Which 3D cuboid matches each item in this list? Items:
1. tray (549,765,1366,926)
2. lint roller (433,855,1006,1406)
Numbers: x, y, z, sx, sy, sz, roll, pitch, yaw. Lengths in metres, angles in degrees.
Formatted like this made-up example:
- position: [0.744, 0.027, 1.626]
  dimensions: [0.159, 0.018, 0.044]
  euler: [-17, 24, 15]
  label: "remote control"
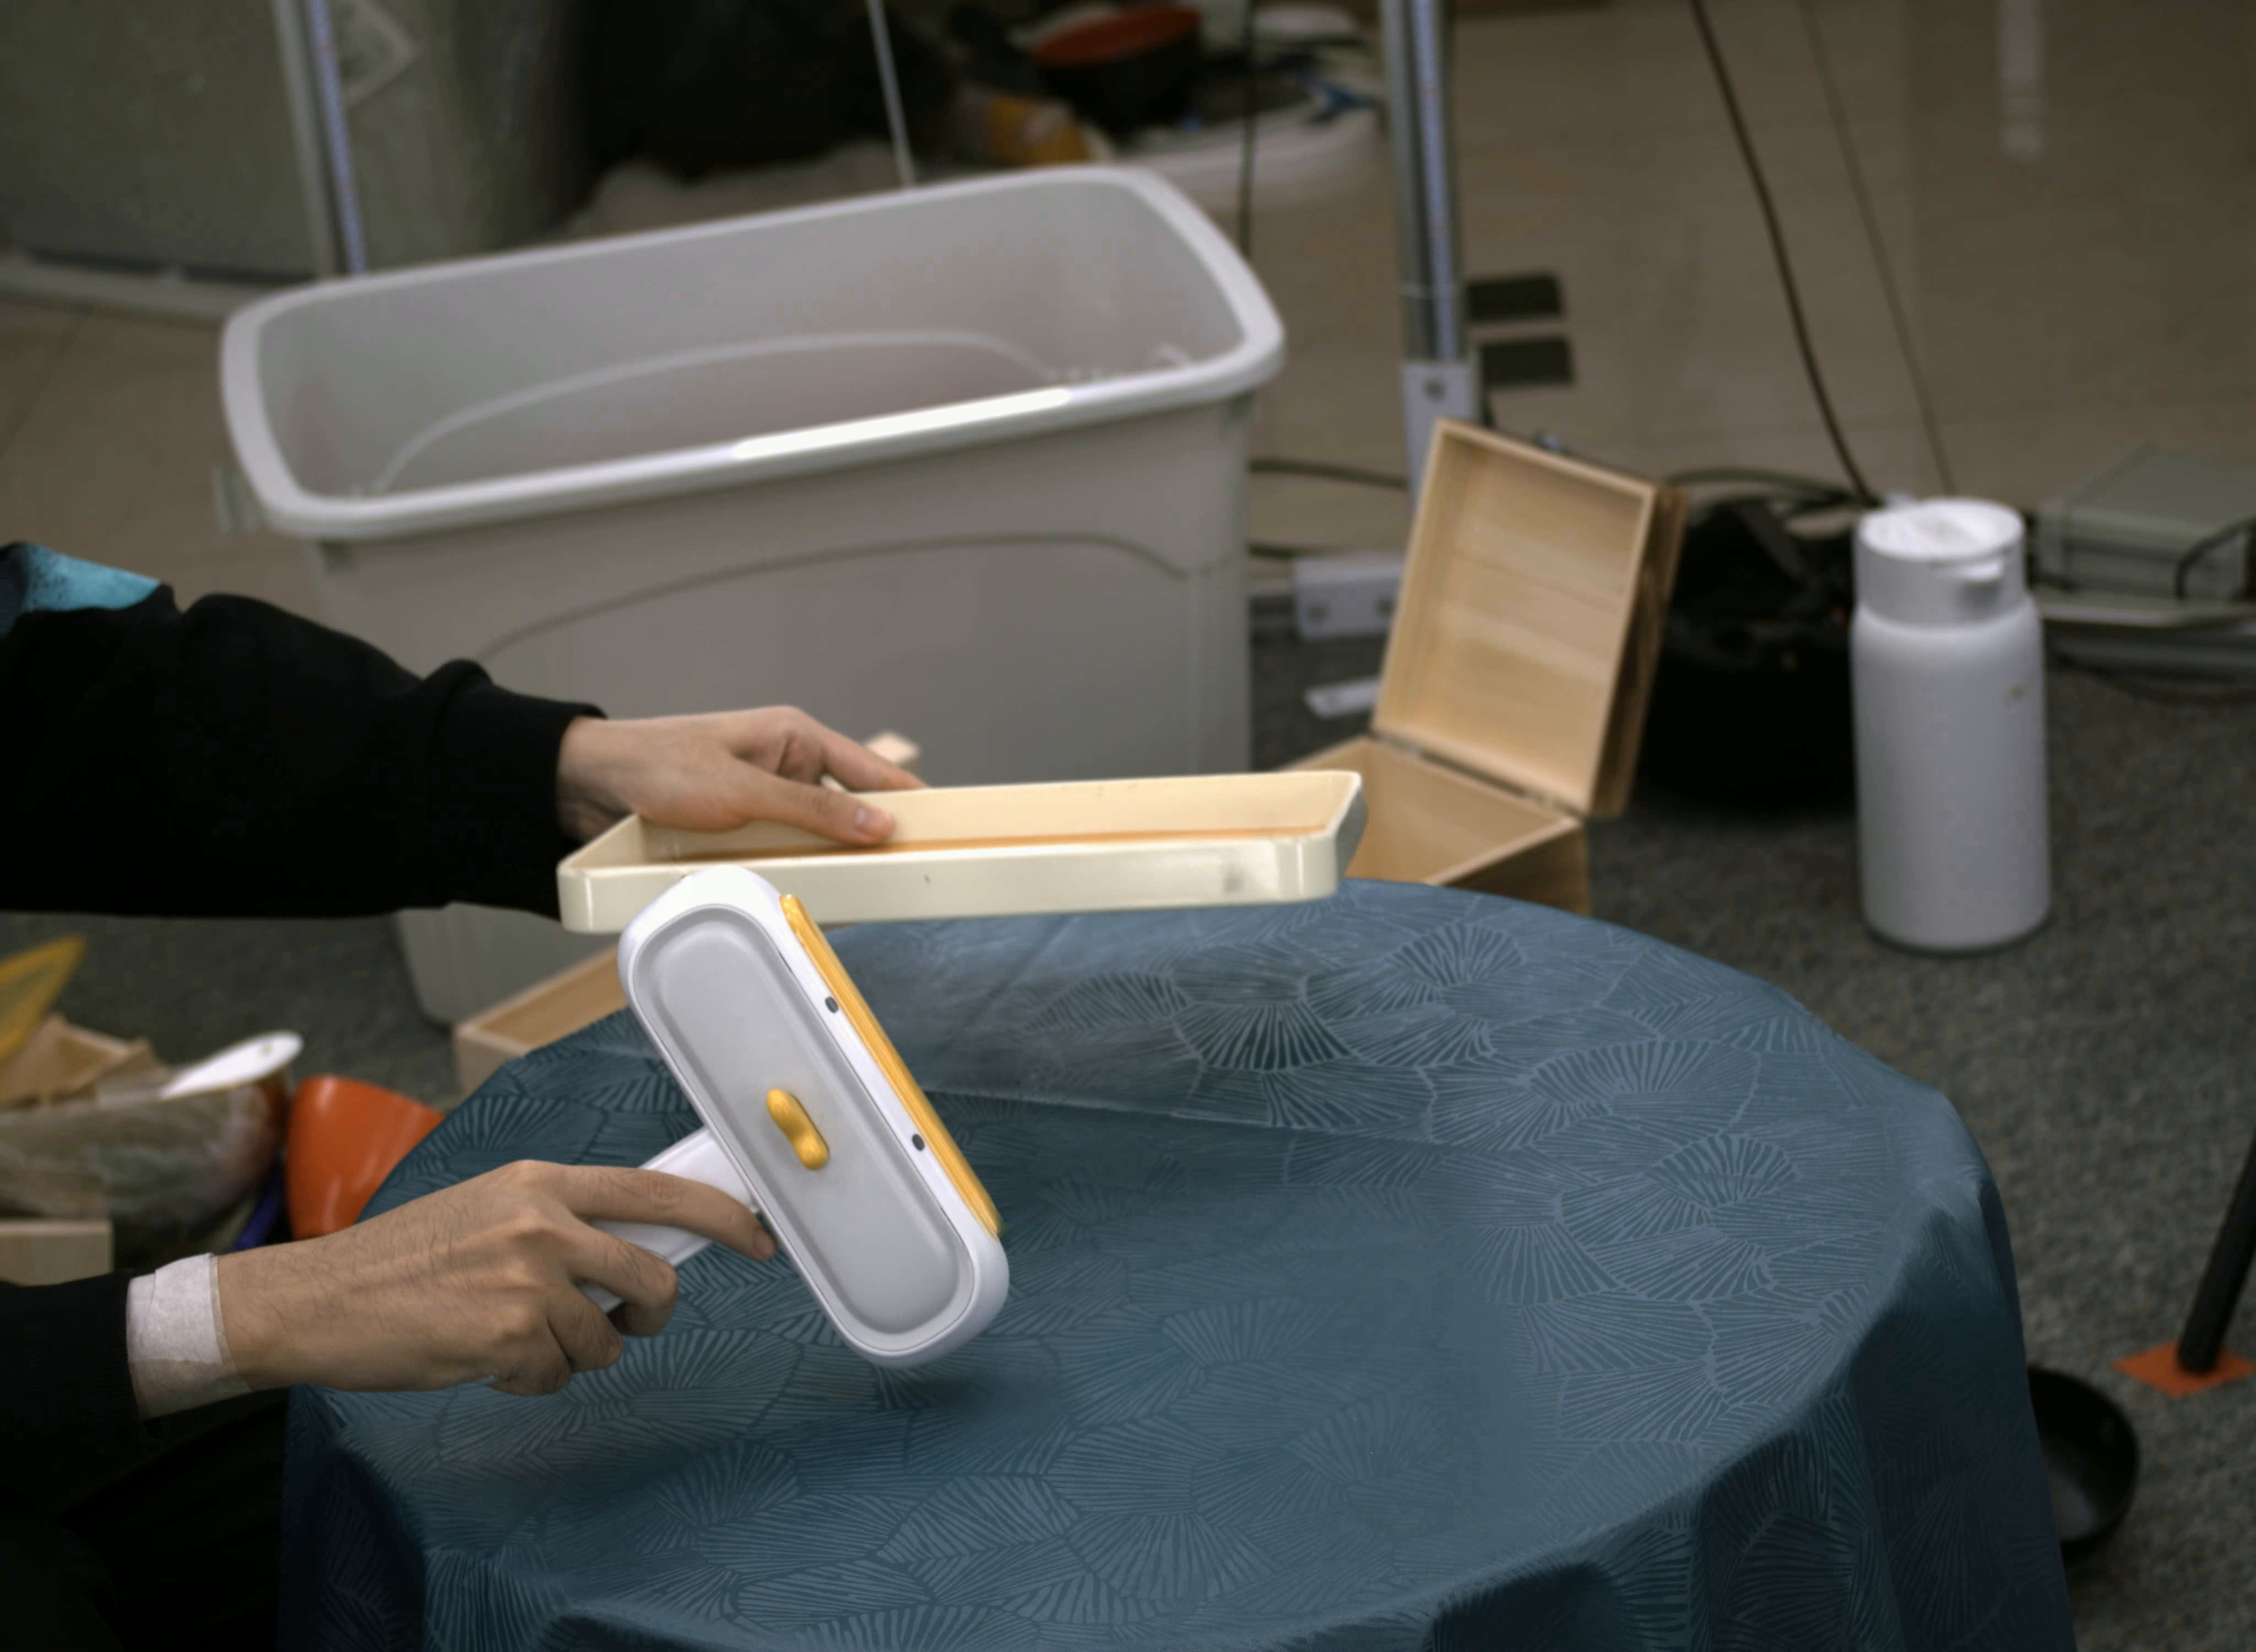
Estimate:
- position: [-0.062, 0.007, 2.216]
  dimensions: [0.300, 0.027, 0.190]
  euler: [-3, 7, 8]
  label: "tray"
- position: [-0.162, 0.133, 1.999]
  dimensions: [0.192, 0.193, 0.074]
  euler: [-37, 5, -3]
  label: "lint roller"
